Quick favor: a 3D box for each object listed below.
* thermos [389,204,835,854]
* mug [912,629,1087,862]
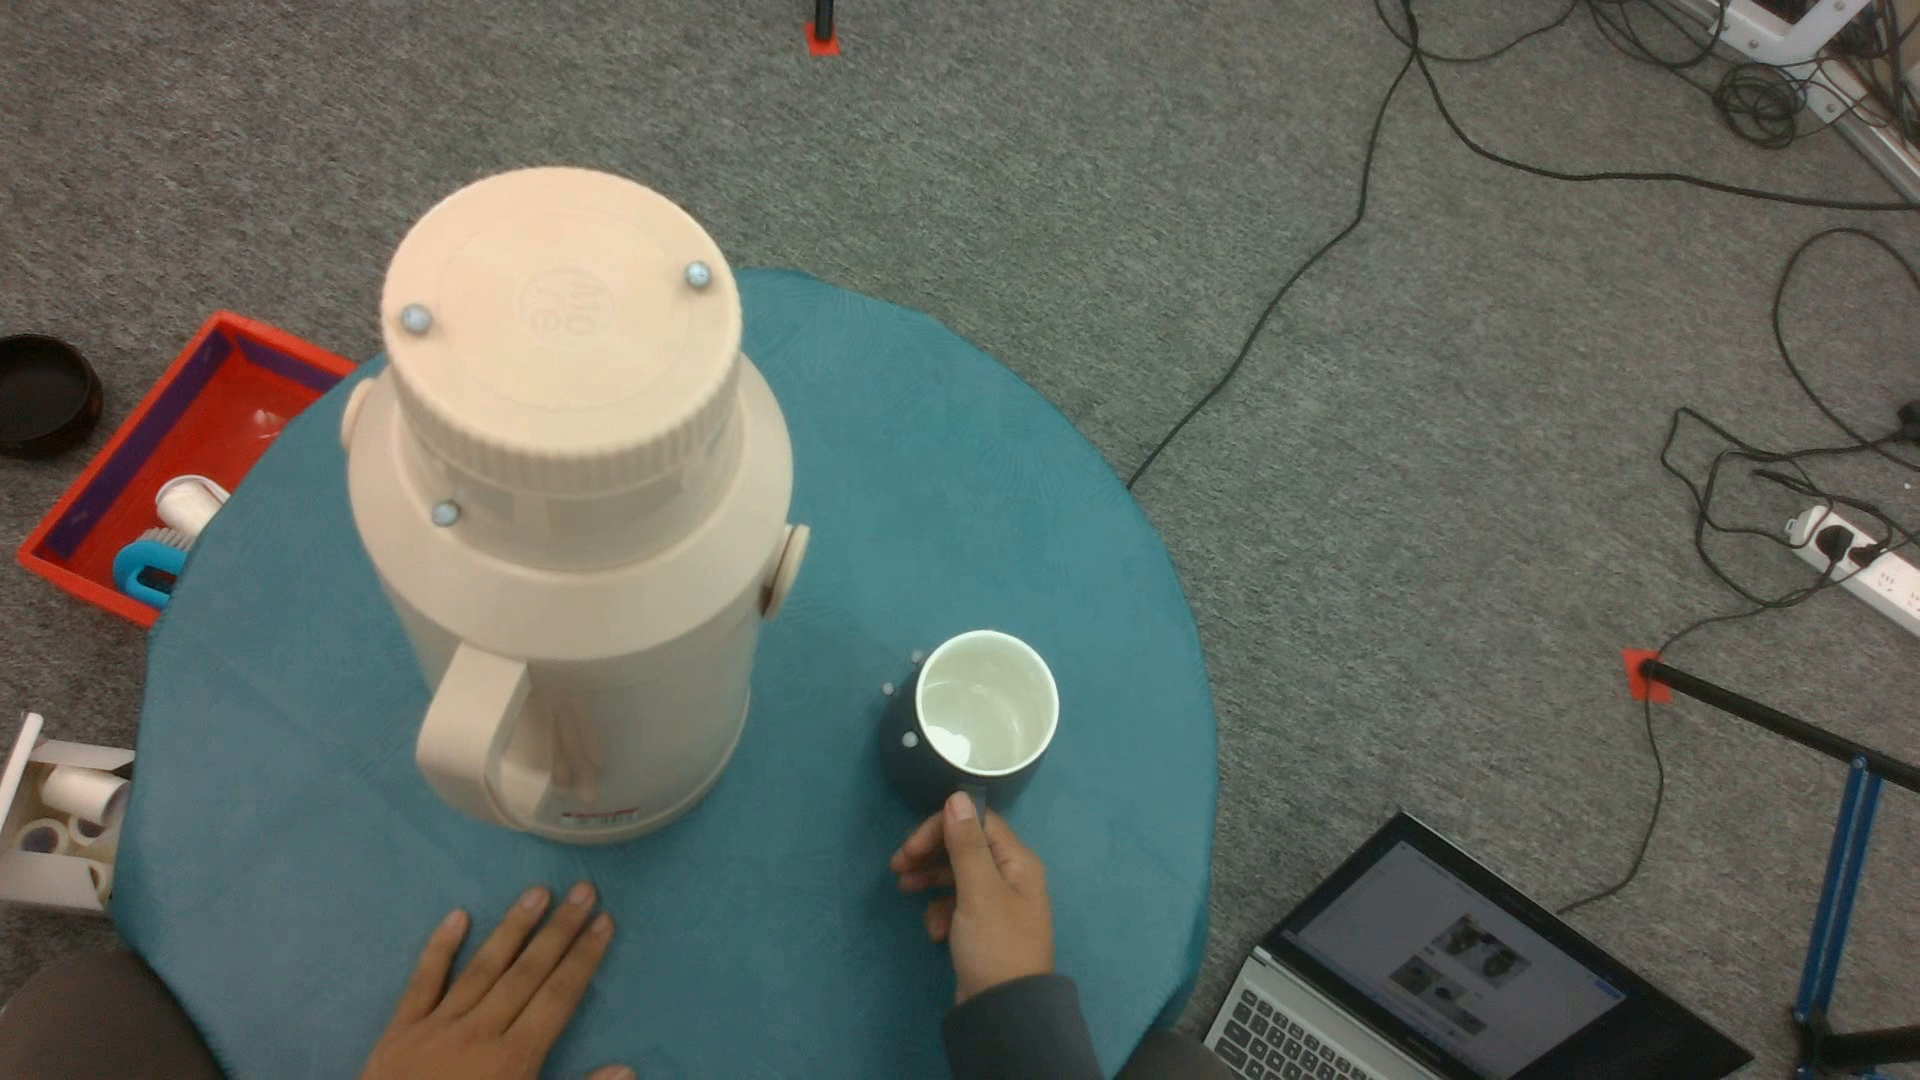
[{"bbox_3d":[-0.153,0.031,0.607,0.175,0.404,0.208,16,63,-4],"label":"thermos"},{"bbox_3d":[0.021,0.117,0.770,0.093,0.089,0.124,11,63,-6],"label":"mug"}]
